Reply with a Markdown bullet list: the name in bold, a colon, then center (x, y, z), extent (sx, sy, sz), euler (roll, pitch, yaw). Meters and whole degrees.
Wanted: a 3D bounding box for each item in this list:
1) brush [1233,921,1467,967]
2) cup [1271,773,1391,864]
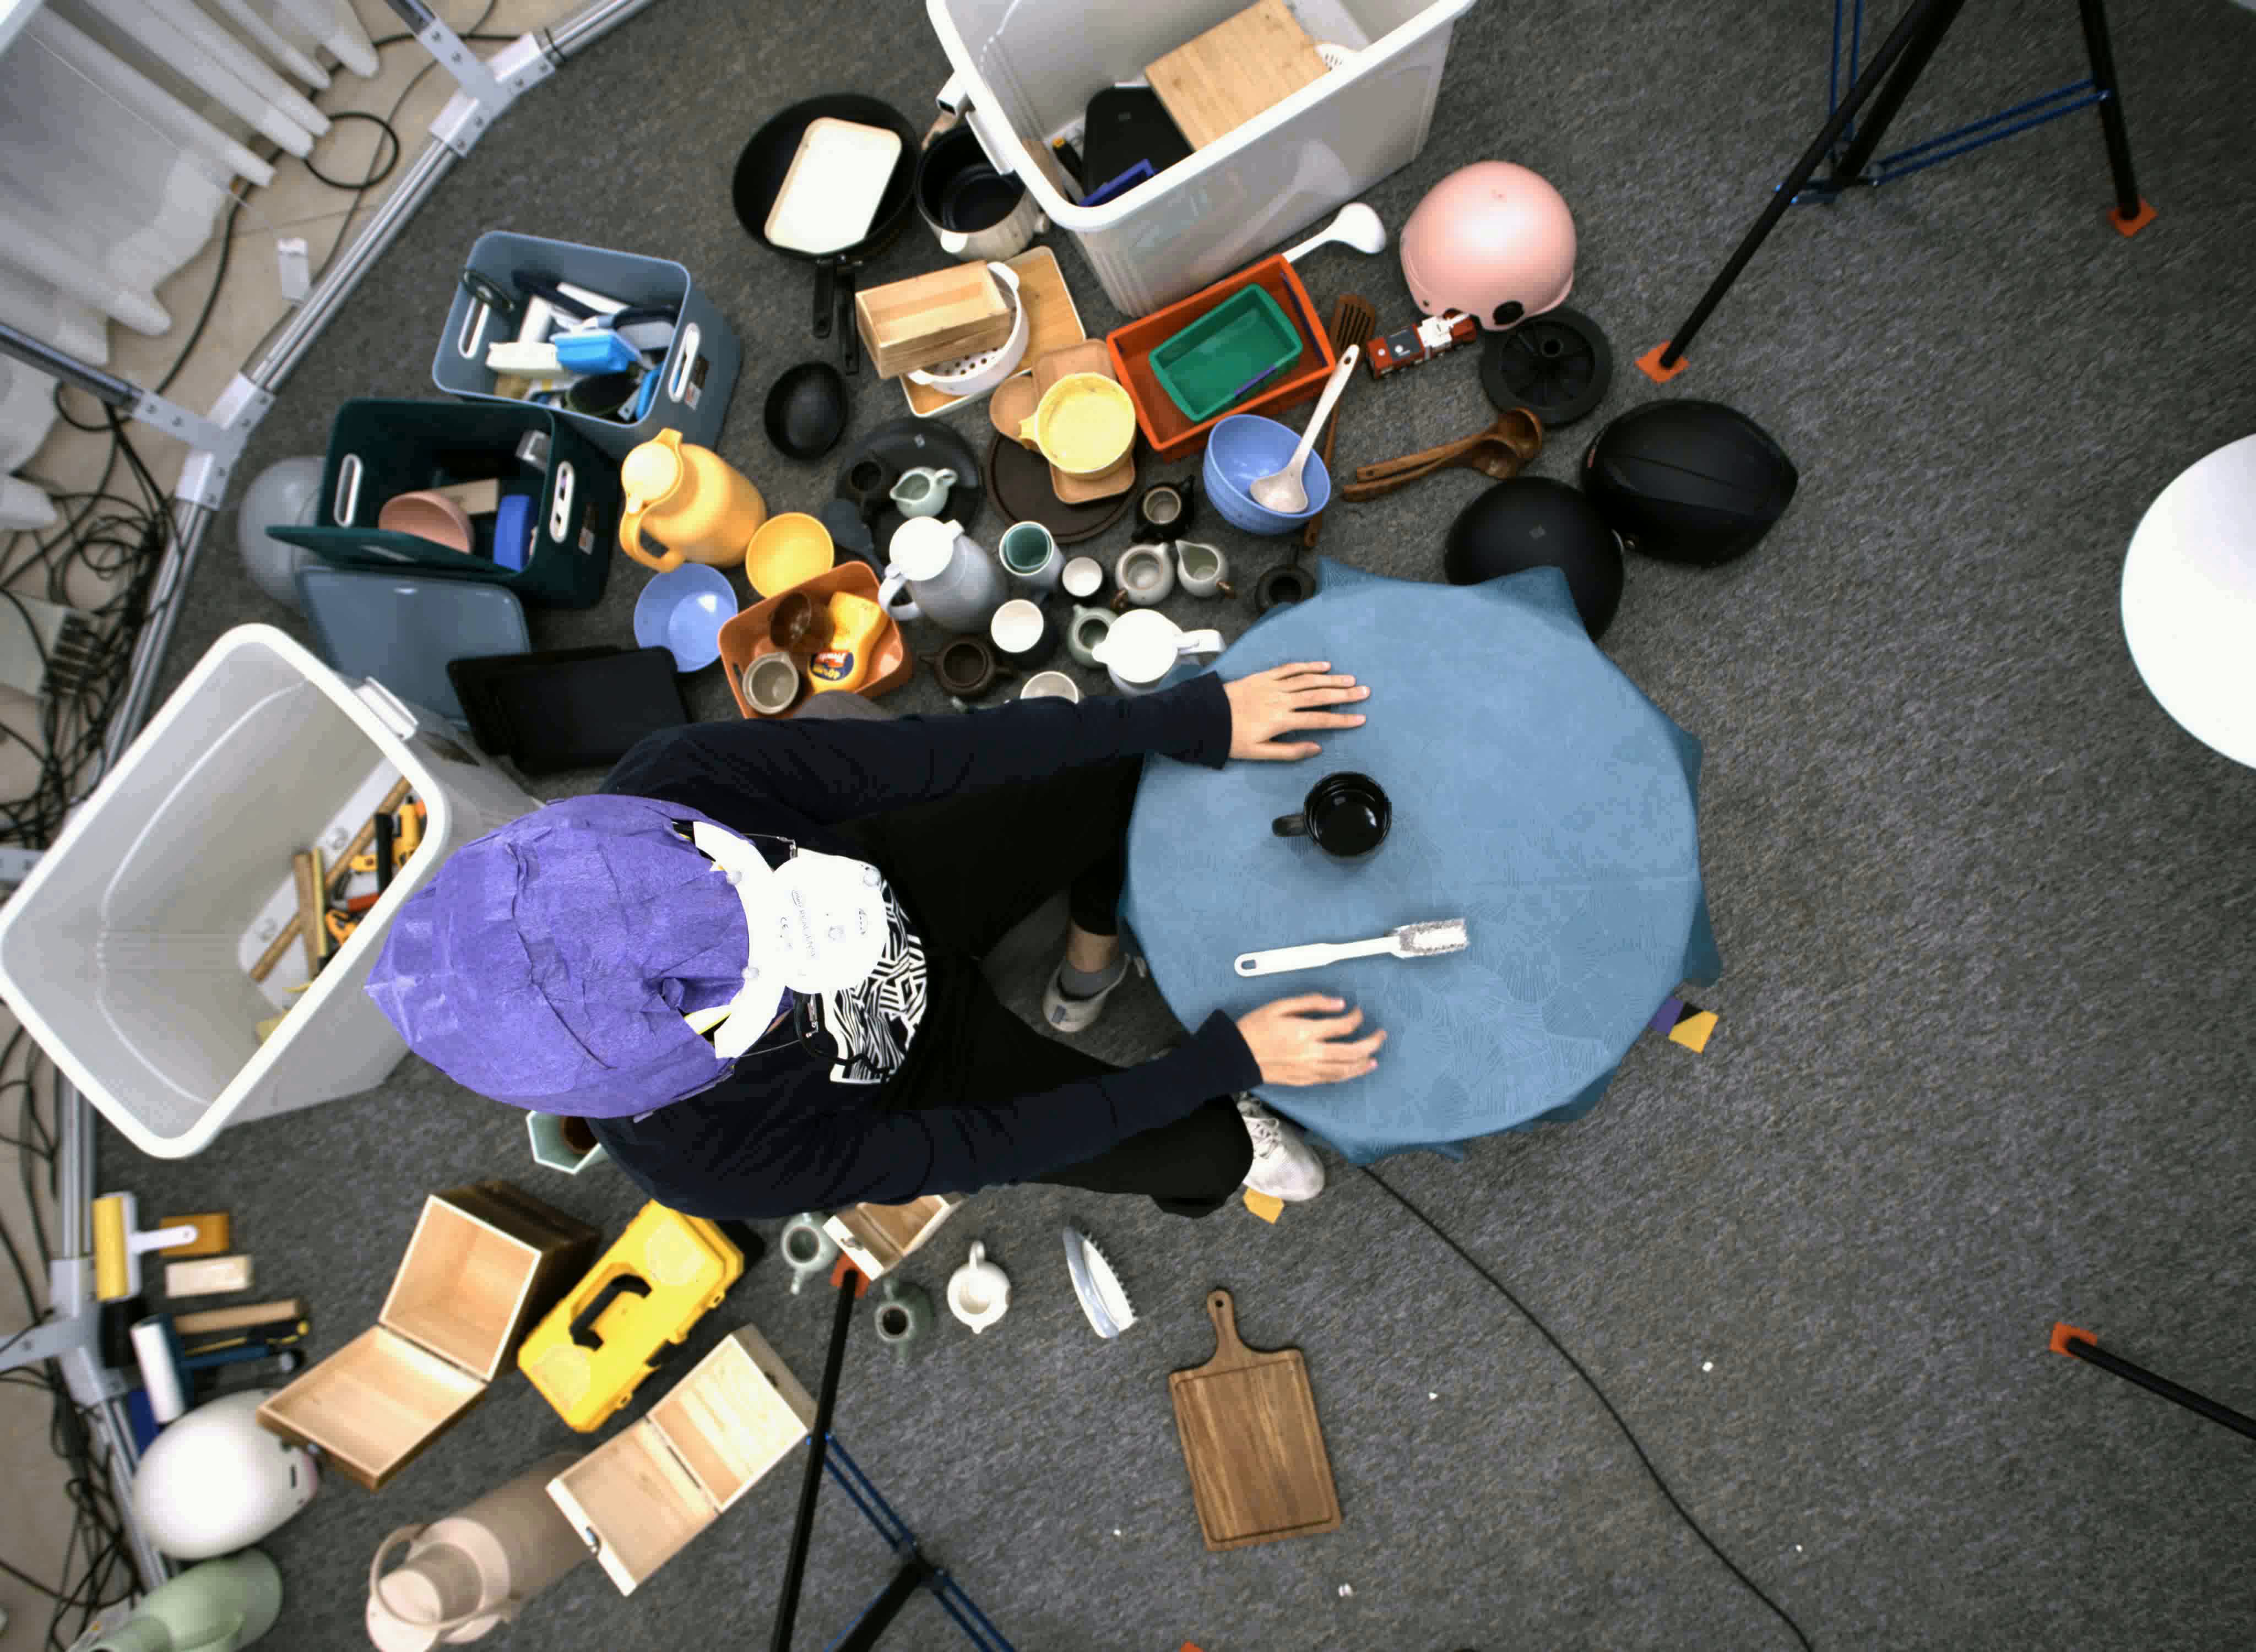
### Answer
- **brush**: center (0.228, 0.125, 1.440), extent (0.245, 0.050, 0.034), euler (-6, 89, 10)
- **cup**: center (0.209, -0.006, 1.422), extent (0.124, 0.105, 0.088), euler (-4, 87, 12)
